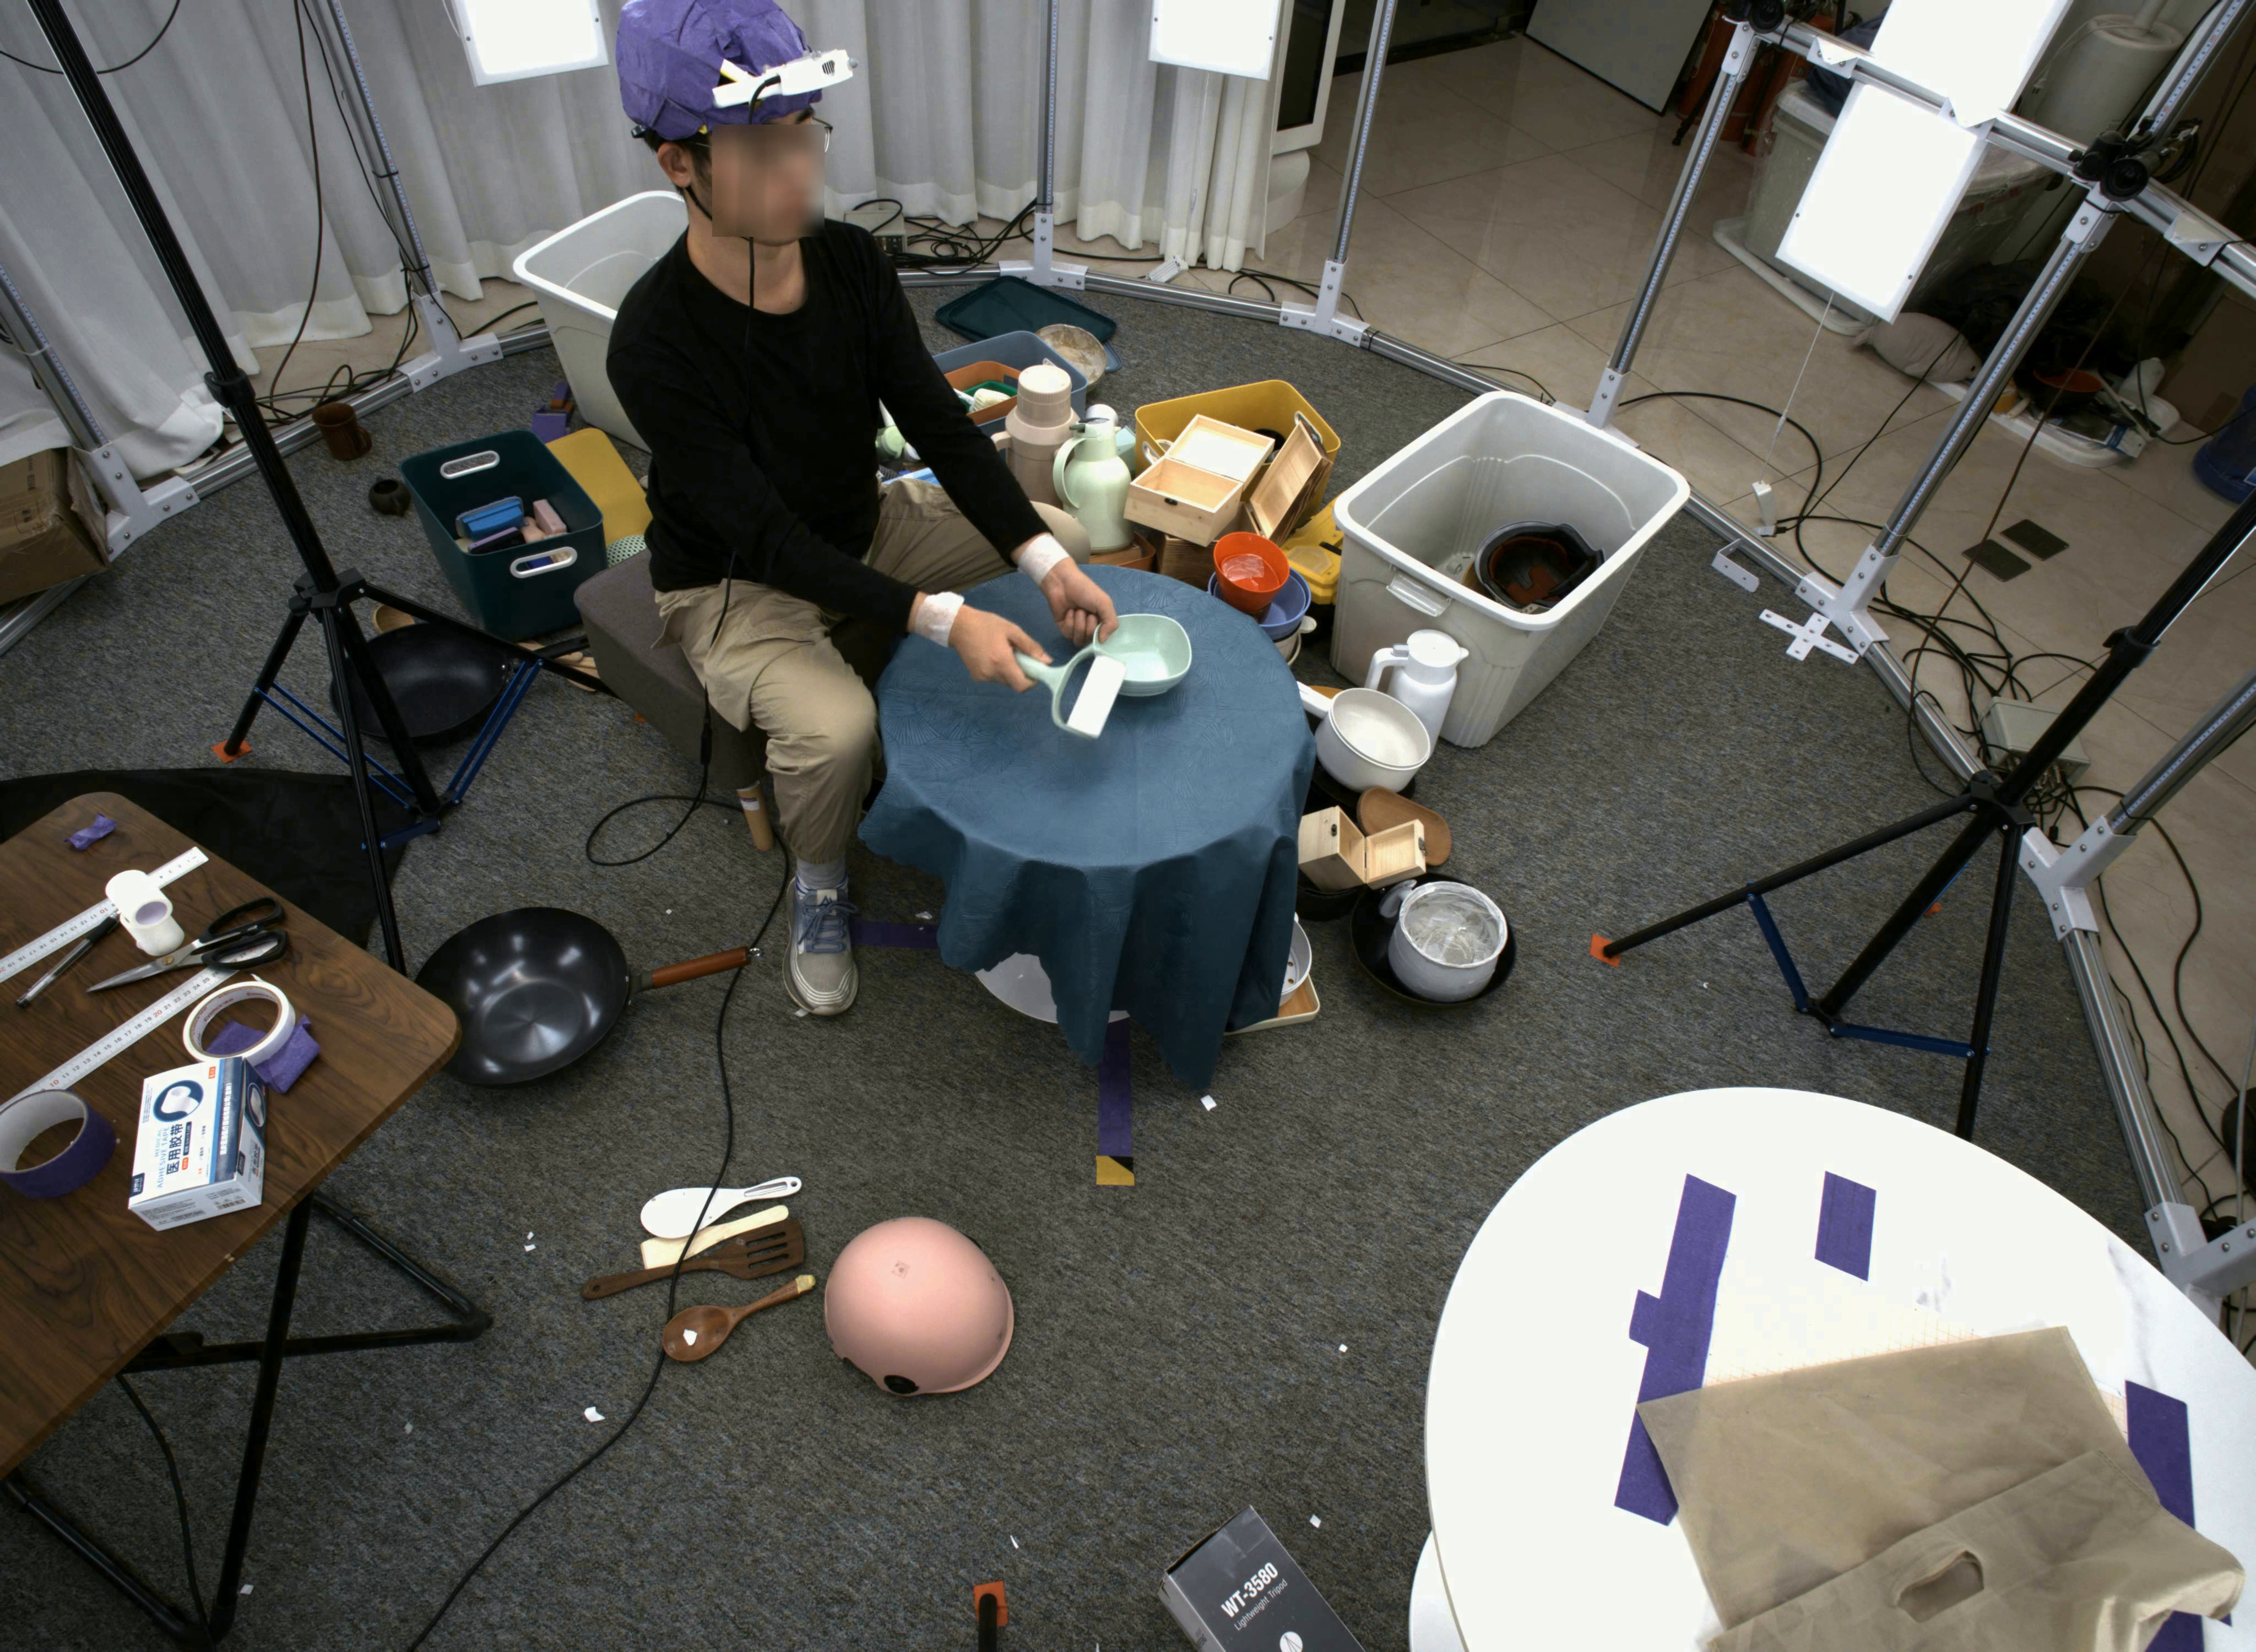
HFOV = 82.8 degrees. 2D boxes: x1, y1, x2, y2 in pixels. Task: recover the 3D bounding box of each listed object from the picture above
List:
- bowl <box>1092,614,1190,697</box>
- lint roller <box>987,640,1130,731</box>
[{"bbox_3d":[0.017,-0.236,1.839,0.151,0.057,0.155,3,49,-3],"label":"bowl"},{"bbox_3d":[-0.103,-0.211,1.719,0.198,0.048,0.116,22,92,13],"label":"lint roller"}]
